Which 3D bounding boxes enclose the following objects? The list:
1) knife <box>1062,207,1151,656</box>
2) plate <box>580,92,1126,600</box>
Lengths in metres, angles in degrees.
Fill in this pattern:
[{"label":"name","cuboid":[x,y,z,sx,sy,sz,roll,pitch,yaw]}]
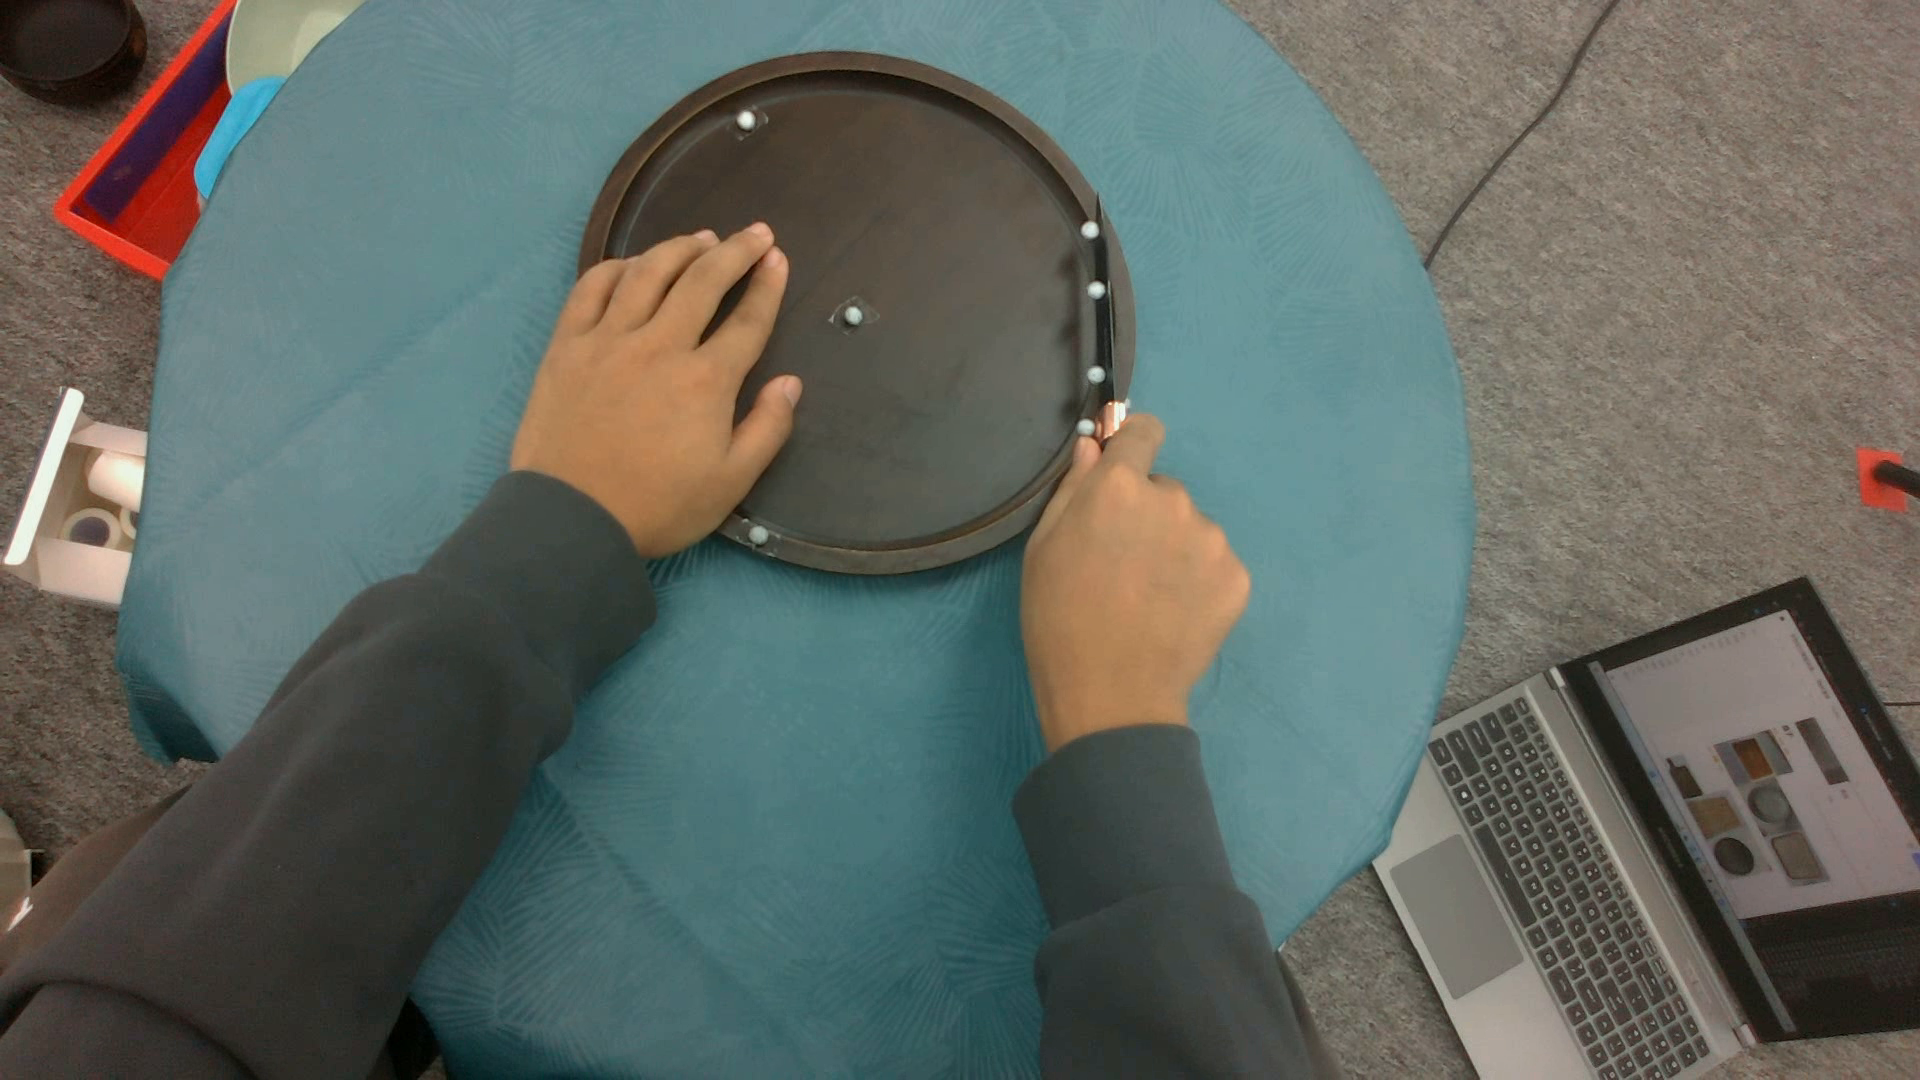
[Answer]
[{"label":"knife","cuboid":[0.064,-0.056,0.627,0.017,0.026,0.226,-2,72,-13]},{"label":"plate","cuboid":[-0.047,-0.094,0.645,0.255,0.029,0.255,3,75,-10]}]
